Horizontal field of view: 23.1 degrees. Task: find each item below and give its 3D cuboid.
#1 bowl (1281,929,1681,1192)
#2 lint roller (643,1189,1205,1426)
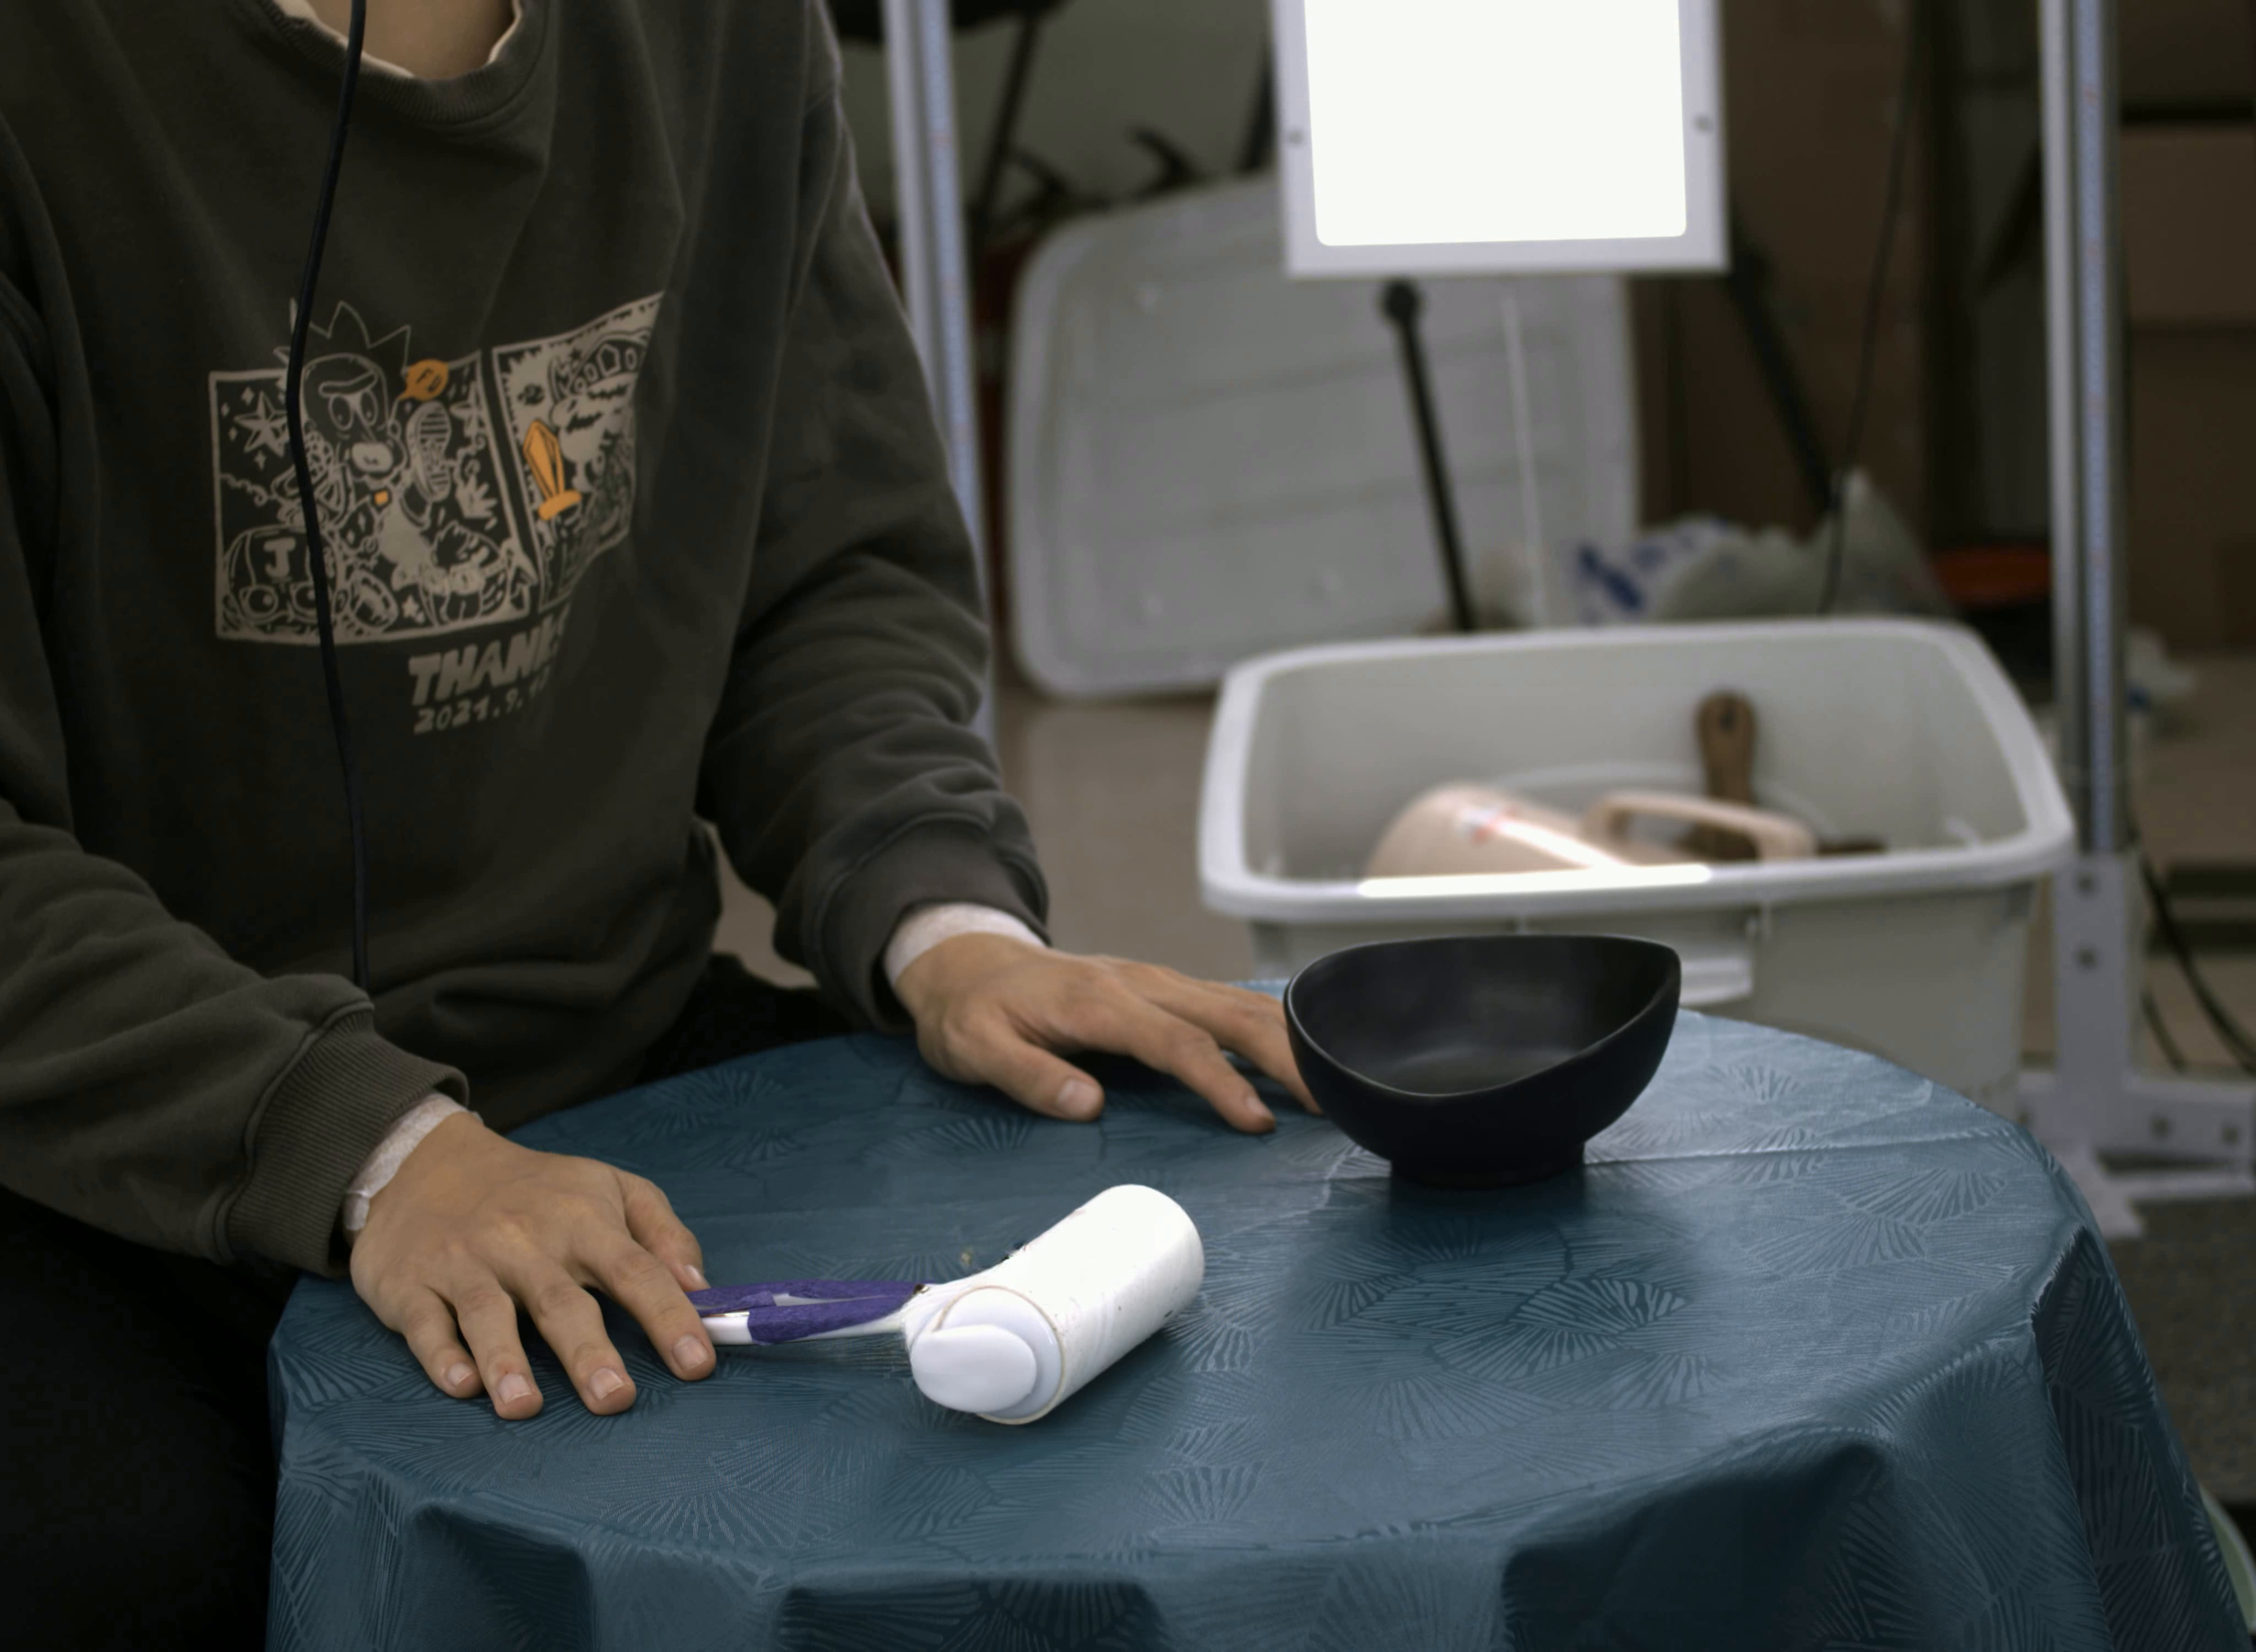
[{"bbox_3d":[0.124,0.084,1.891,0.138,0.067,0.168,-3,15,13],"label":"bowl"},{"bbox_3d":[-0.075,0.144,1.751,0.184,0.050,0.130,6,18,29],"label":"lint roller"}]
